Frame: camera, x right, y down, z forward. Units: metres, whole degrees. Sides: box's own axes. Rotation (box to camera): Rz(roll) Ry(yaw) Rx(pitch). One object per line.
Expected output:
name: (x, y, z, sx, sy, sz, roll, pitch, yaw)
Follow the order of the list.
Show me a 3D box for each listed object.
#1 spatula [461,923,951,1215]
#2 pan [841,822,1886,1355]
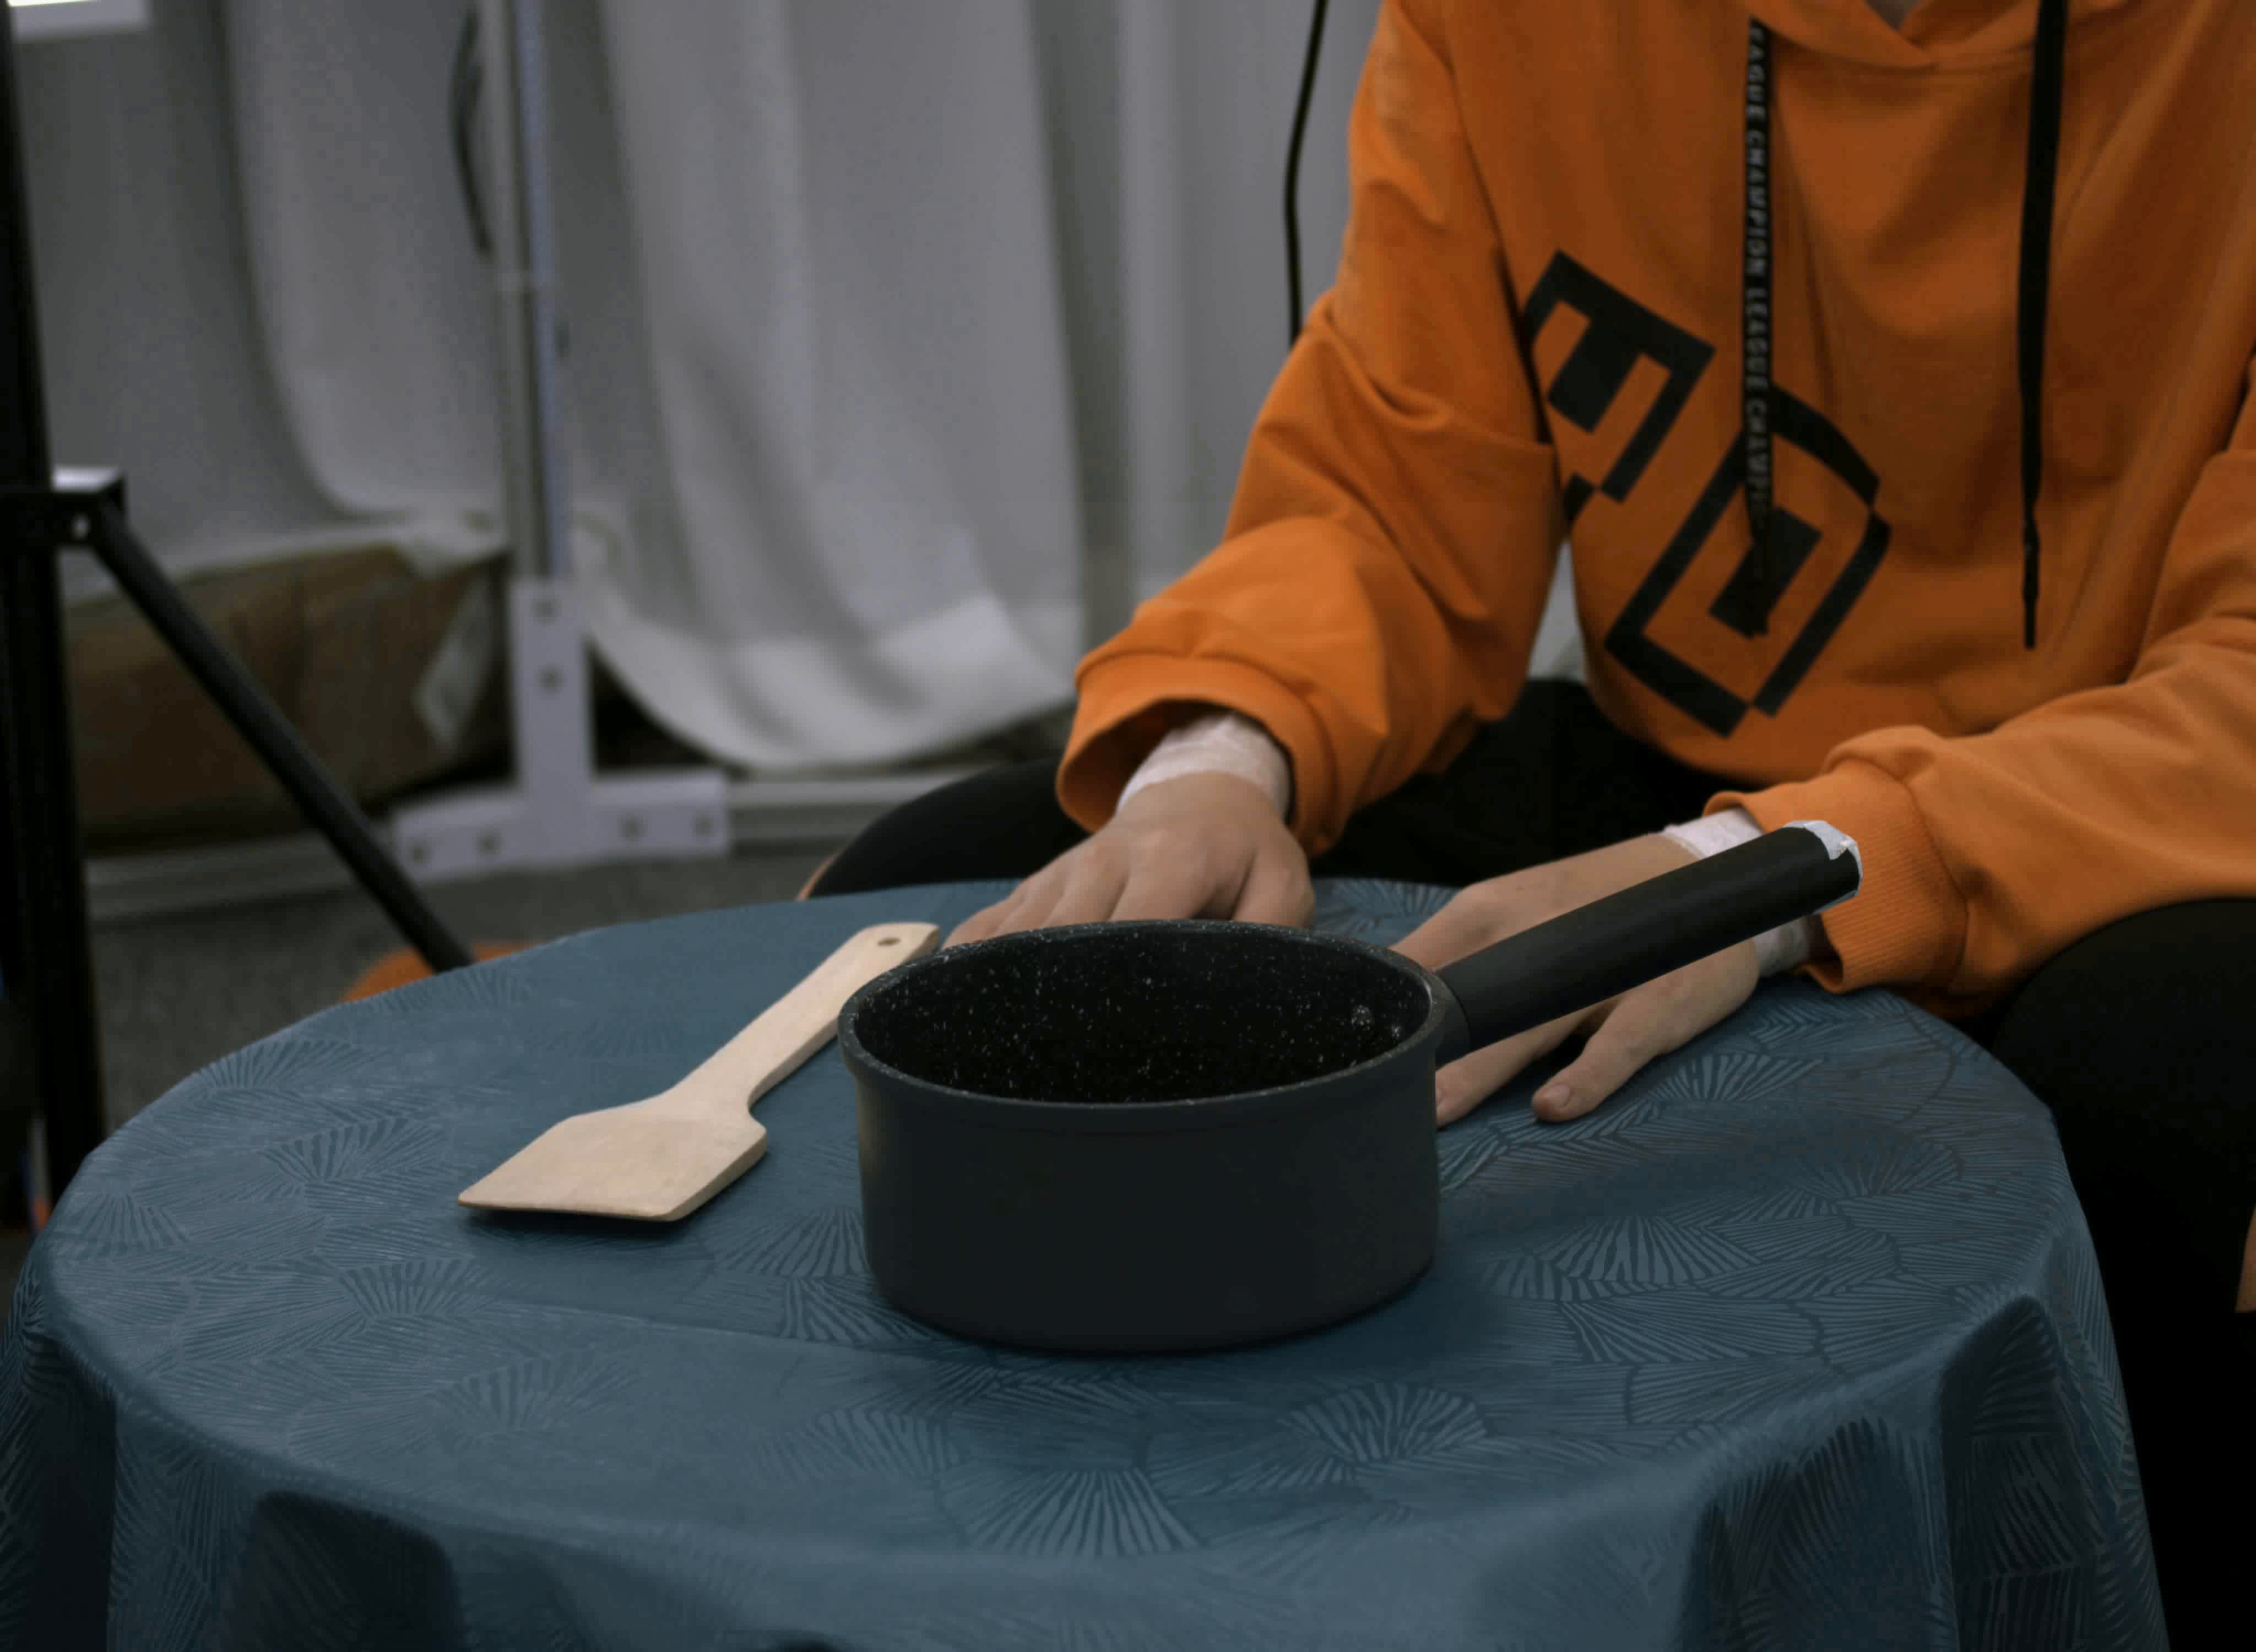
spatula: (-0.119, 0.075, 1.680, 0.073, 0.010, 0.289, -1, 15, 20)
pan: (0.076, 0.070, 1.523, 0.322, 0.086, 0.175, -12, 18, -24)
